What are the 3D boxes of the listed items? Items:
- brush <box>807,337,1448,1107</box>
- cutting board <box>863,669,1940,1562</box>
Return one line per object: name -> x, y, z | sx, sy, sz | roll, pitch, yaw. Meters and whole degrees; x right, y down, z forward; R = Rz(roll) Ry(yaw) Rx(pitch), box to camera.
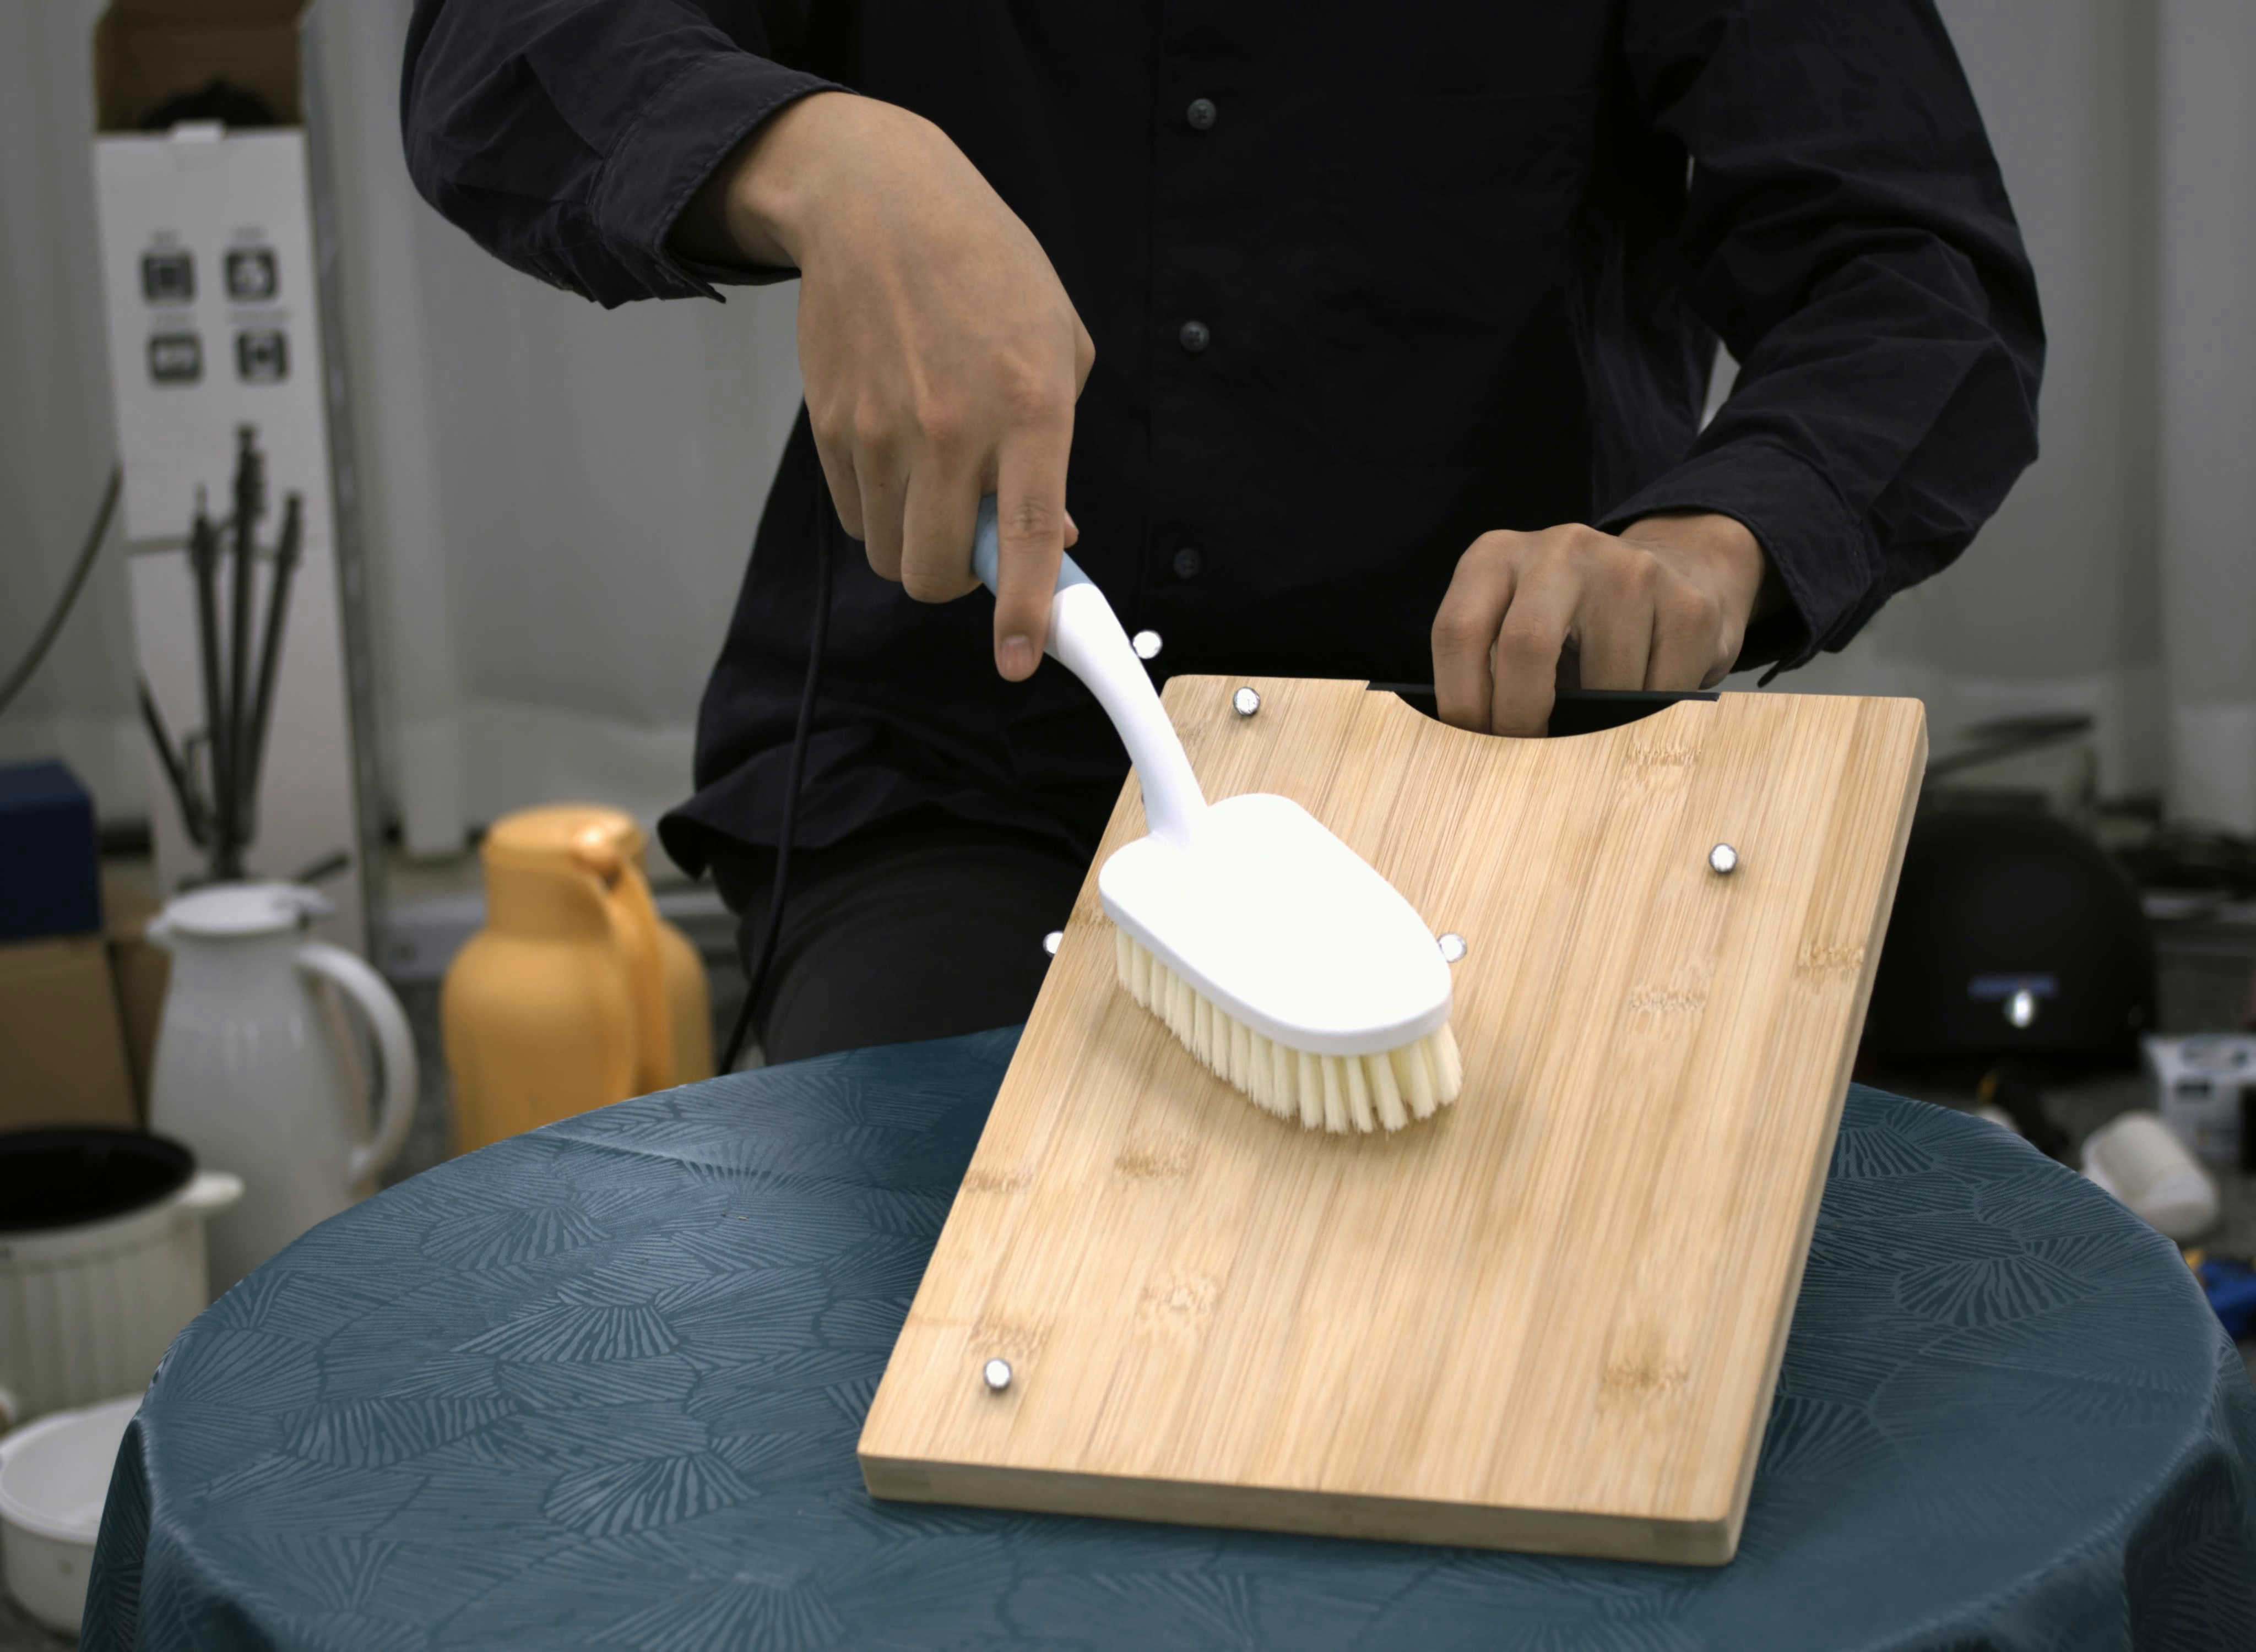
brush -> -0.003, -0.026, 1.630 | 0.082, 0.084, 0.330 | 10, 31, -47
cutting board -> 0.087, 0.071, 1.566 | 0.250, 0.023, 0.353 | 2, 40, 16
